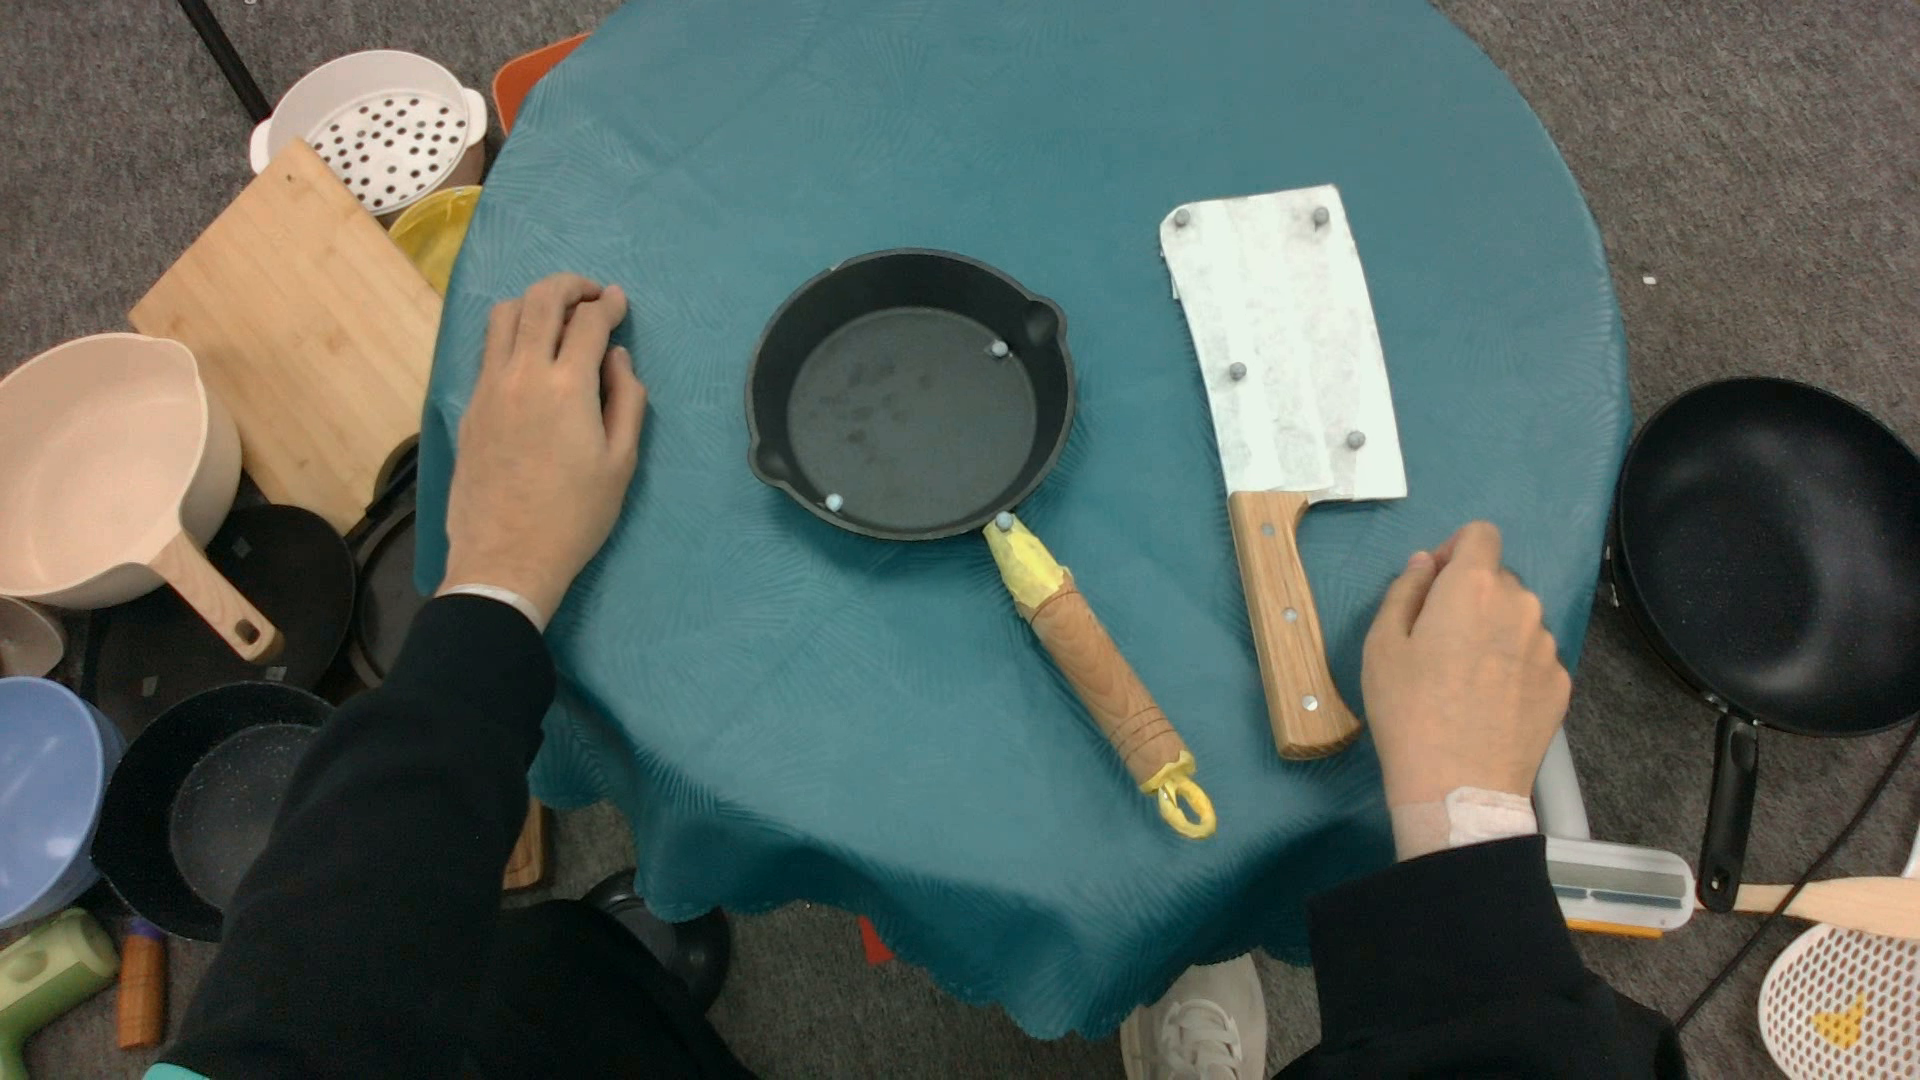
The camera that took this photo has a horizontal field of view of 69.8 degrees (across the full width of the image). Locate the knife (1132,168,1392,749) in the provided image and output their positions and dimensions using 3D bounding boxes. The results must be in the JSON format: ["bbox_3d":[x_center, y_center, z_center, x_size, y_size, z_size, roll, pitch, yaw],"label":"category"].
[{"bbox_3d":[0.150,-0.053,0.669,0.114,0.021,0.316,-1,65,-2],"label":"knife"}]

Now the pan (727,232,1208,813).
[{"bbox_3d":[0.012,-0.010,0.631,0.169,0.049,0.324,-28,70,-12],"label":"pan"}]
